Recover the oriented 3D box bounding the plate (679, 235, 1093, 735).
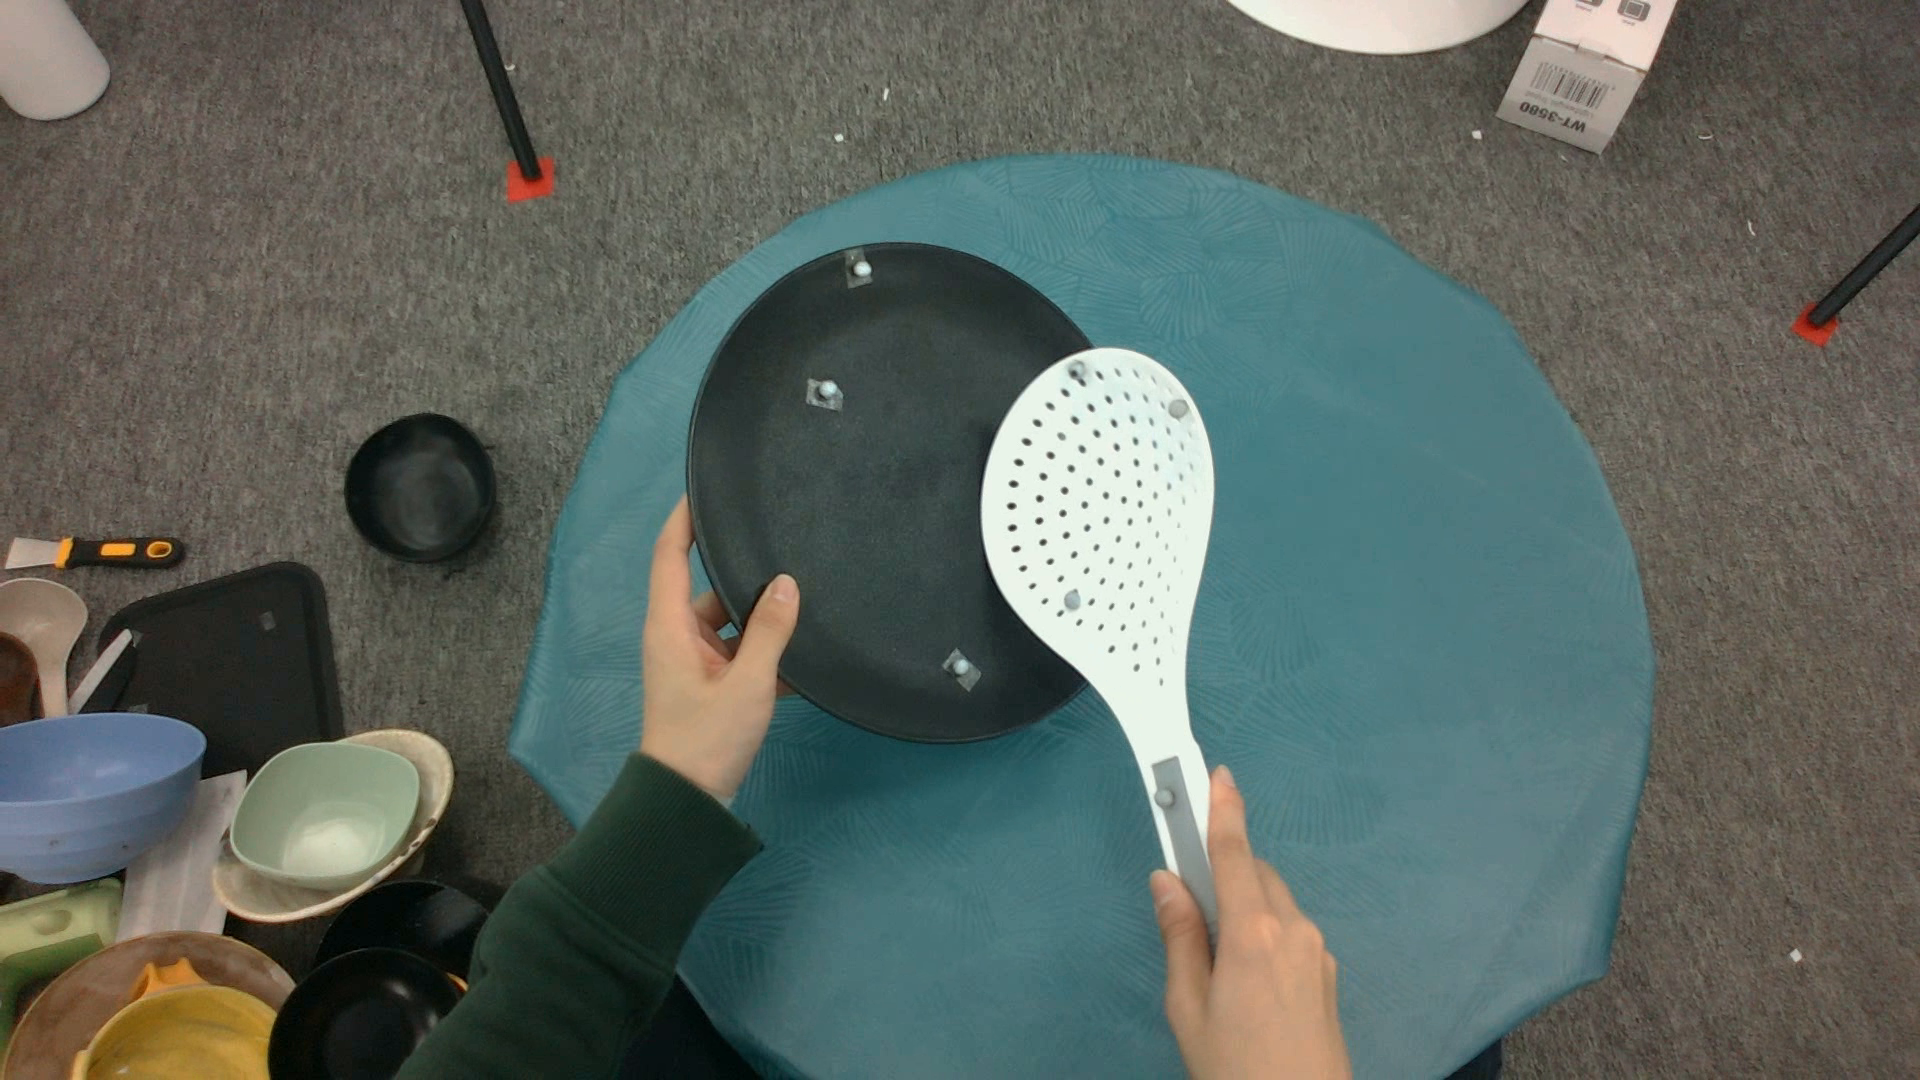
[{"bbox_3d":[-0.017,-0.028,0.662,0.245,0.023,0.245,6,76,-26],"label":"plate"}]

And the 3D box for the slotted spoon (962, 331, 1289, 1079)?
[{"bbox_3d":[0.080,0.073,0.594,0.046,0.135,0.350,9,61,-41],"label":"slotted spoon"}]
